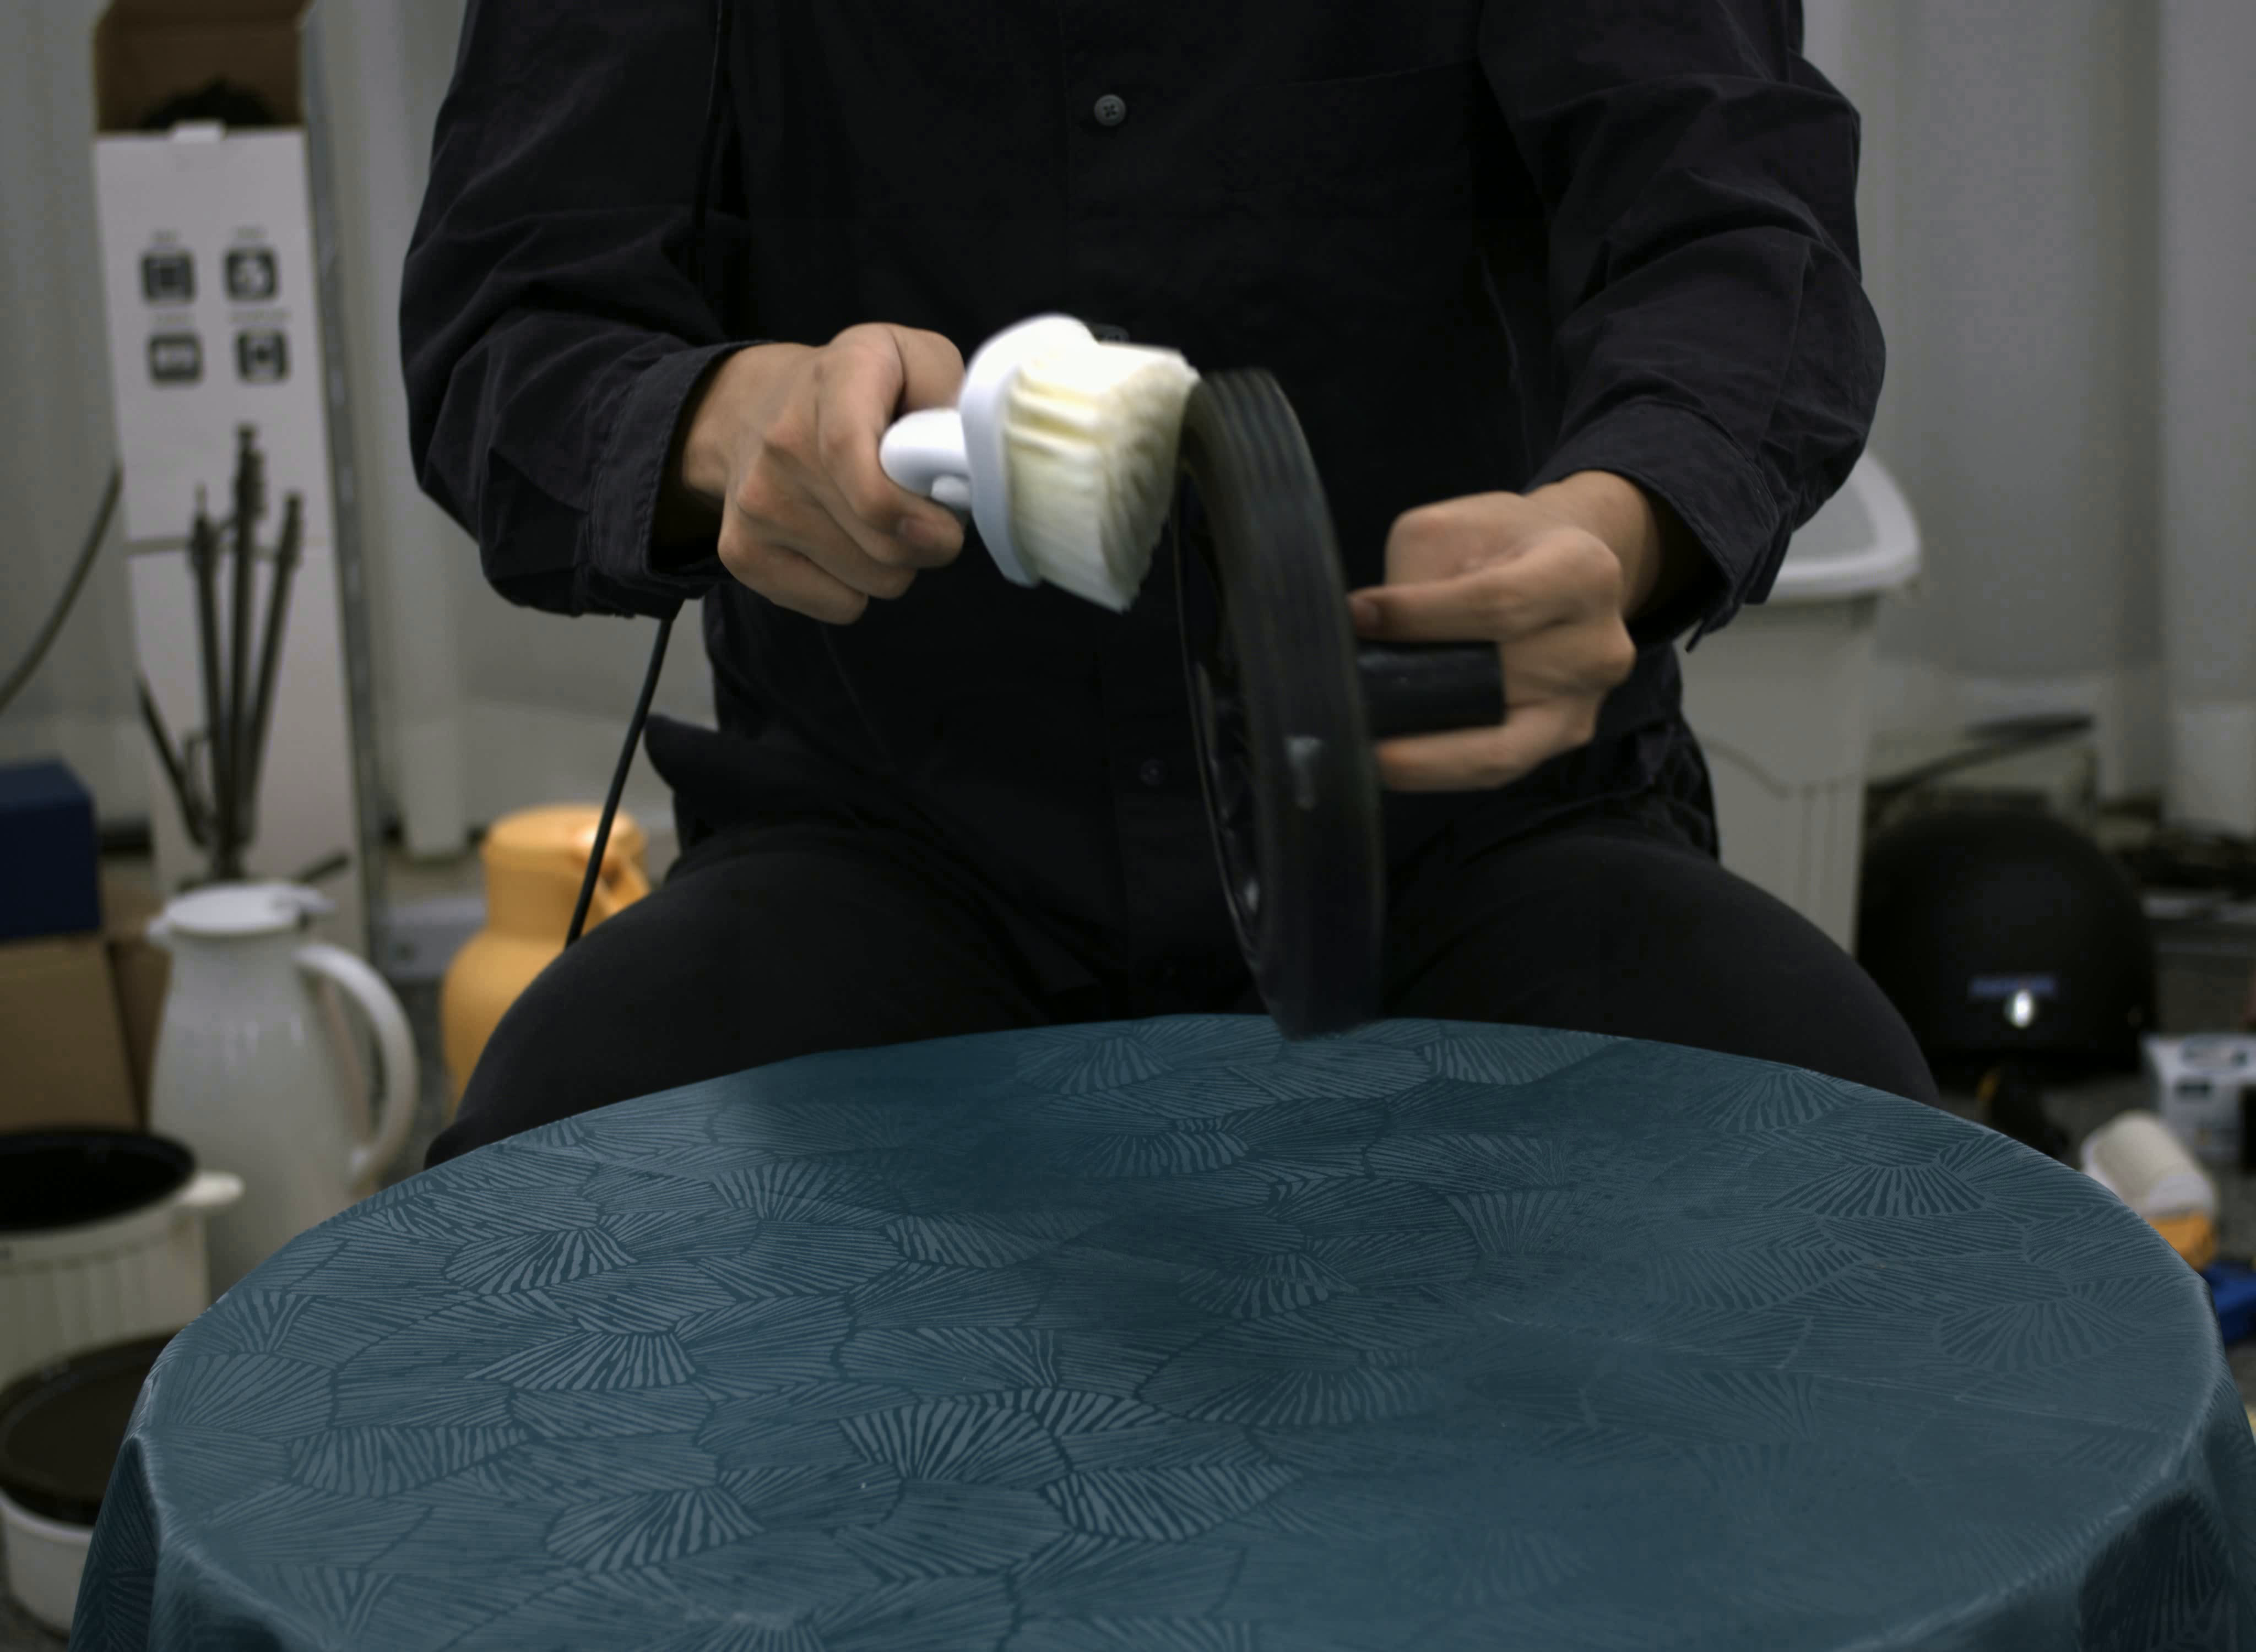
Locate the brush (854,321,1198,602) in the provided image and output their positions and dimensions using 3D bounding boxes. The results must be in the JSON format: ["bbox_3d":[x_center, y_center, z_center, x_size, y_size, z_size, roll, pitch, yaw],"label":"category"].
[{"bbox_3d":[-0.021,-0.103,1.626,0.083,0.084,0.325,-35,1,-7],"label":"brush"}]

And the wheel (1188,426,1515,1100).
[{"bbox_3d":[0.067,-0.021,1.537,0.079,0.185,0.193,-10,43,-6],"label":"wheel"}]
